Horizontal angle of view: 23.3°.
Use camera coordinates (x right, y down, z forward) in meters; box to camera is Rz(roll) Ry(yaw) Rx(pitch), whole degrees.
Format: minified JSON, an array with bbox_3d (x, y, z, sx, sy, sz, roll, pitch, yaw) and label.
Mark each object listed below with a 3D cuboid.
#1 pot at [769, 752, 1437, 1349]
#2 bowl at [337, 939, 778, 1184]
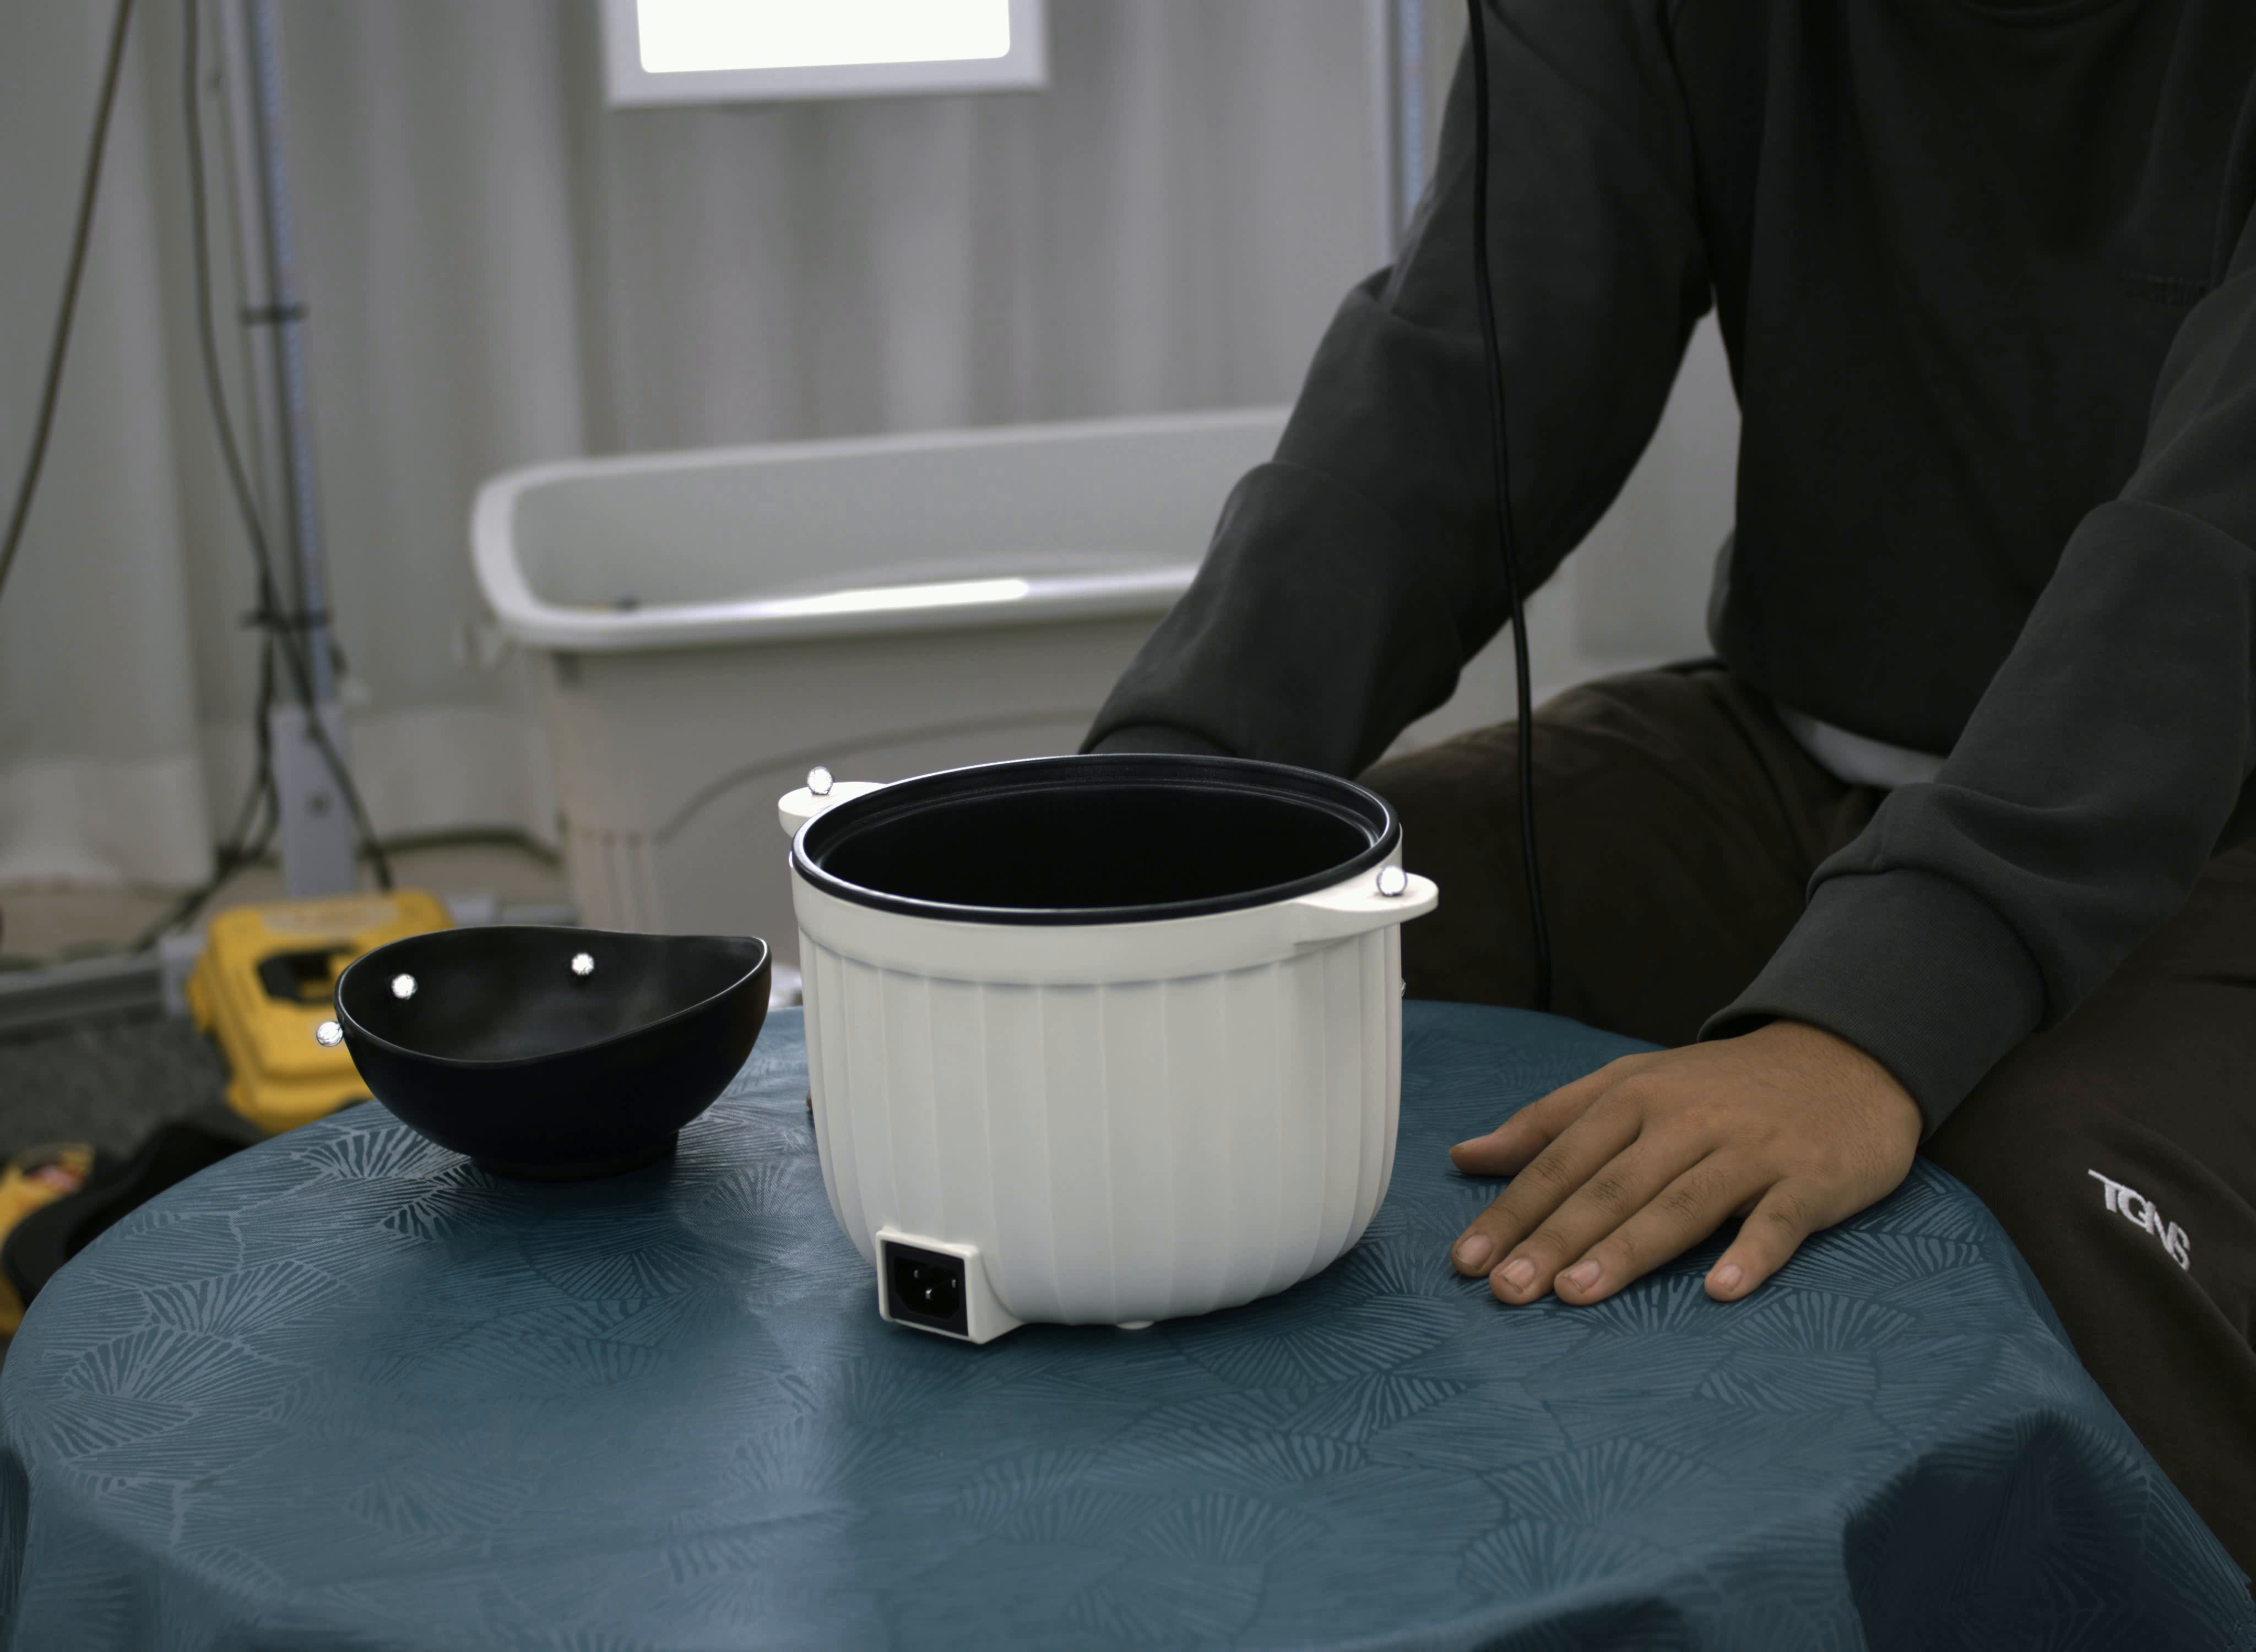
[{"bbox_3d":[-0.005,0.064,1.643,0.241,0.142,0.190,10,22,37],"label":"pot"},{"bbox_3d":[-0.182,0.076,1.771,0.137,0.066,0.171,2,14,16],"label":"bowl"}]
